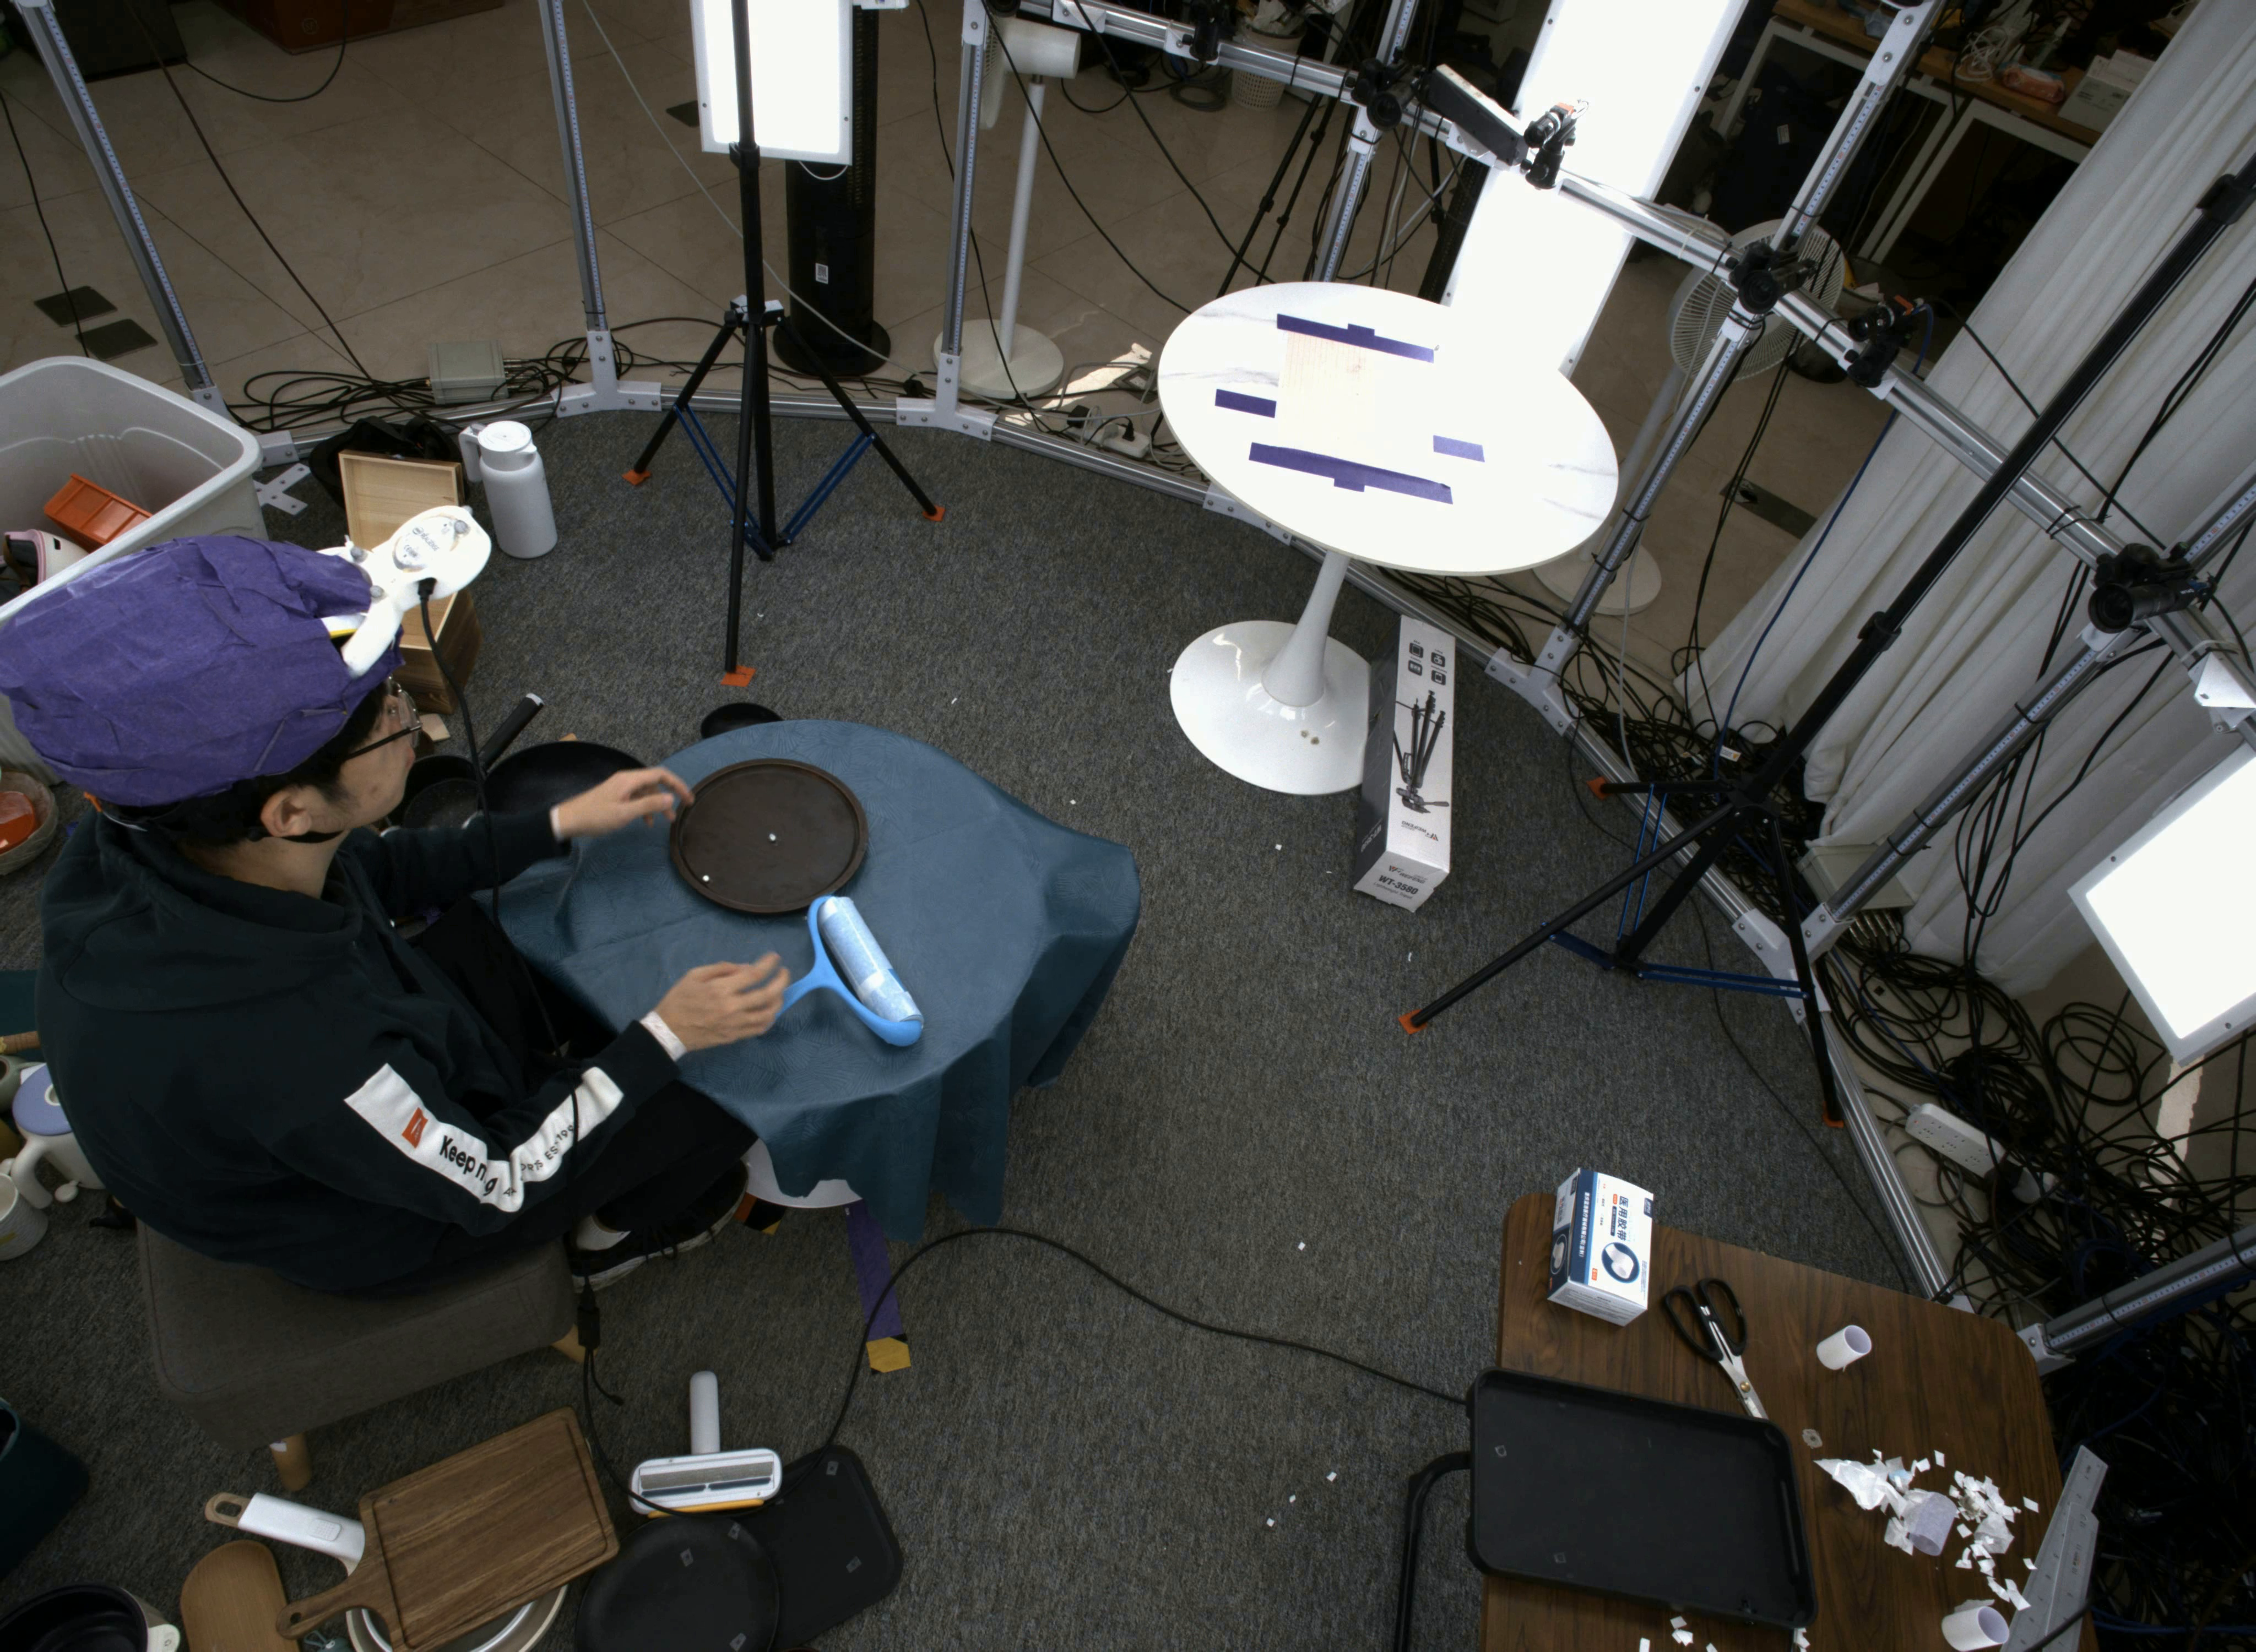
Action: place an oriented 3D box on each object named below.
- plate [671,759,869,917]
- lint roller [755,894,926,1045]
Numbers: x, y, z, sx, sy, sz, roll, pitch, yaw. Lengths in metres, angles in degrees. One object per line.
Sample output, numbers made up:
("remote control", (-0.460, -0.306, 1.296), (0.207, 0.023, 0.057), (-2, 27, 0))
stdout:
("plate", (-0.468, 0.013, 1.694), (0.254, 0.029, 0.250), (9, 52, -10))
("lint roller", (-0.365, 0.193, 1.566), (0.181, 0.069, 0.224), (-26, 66, -31))
